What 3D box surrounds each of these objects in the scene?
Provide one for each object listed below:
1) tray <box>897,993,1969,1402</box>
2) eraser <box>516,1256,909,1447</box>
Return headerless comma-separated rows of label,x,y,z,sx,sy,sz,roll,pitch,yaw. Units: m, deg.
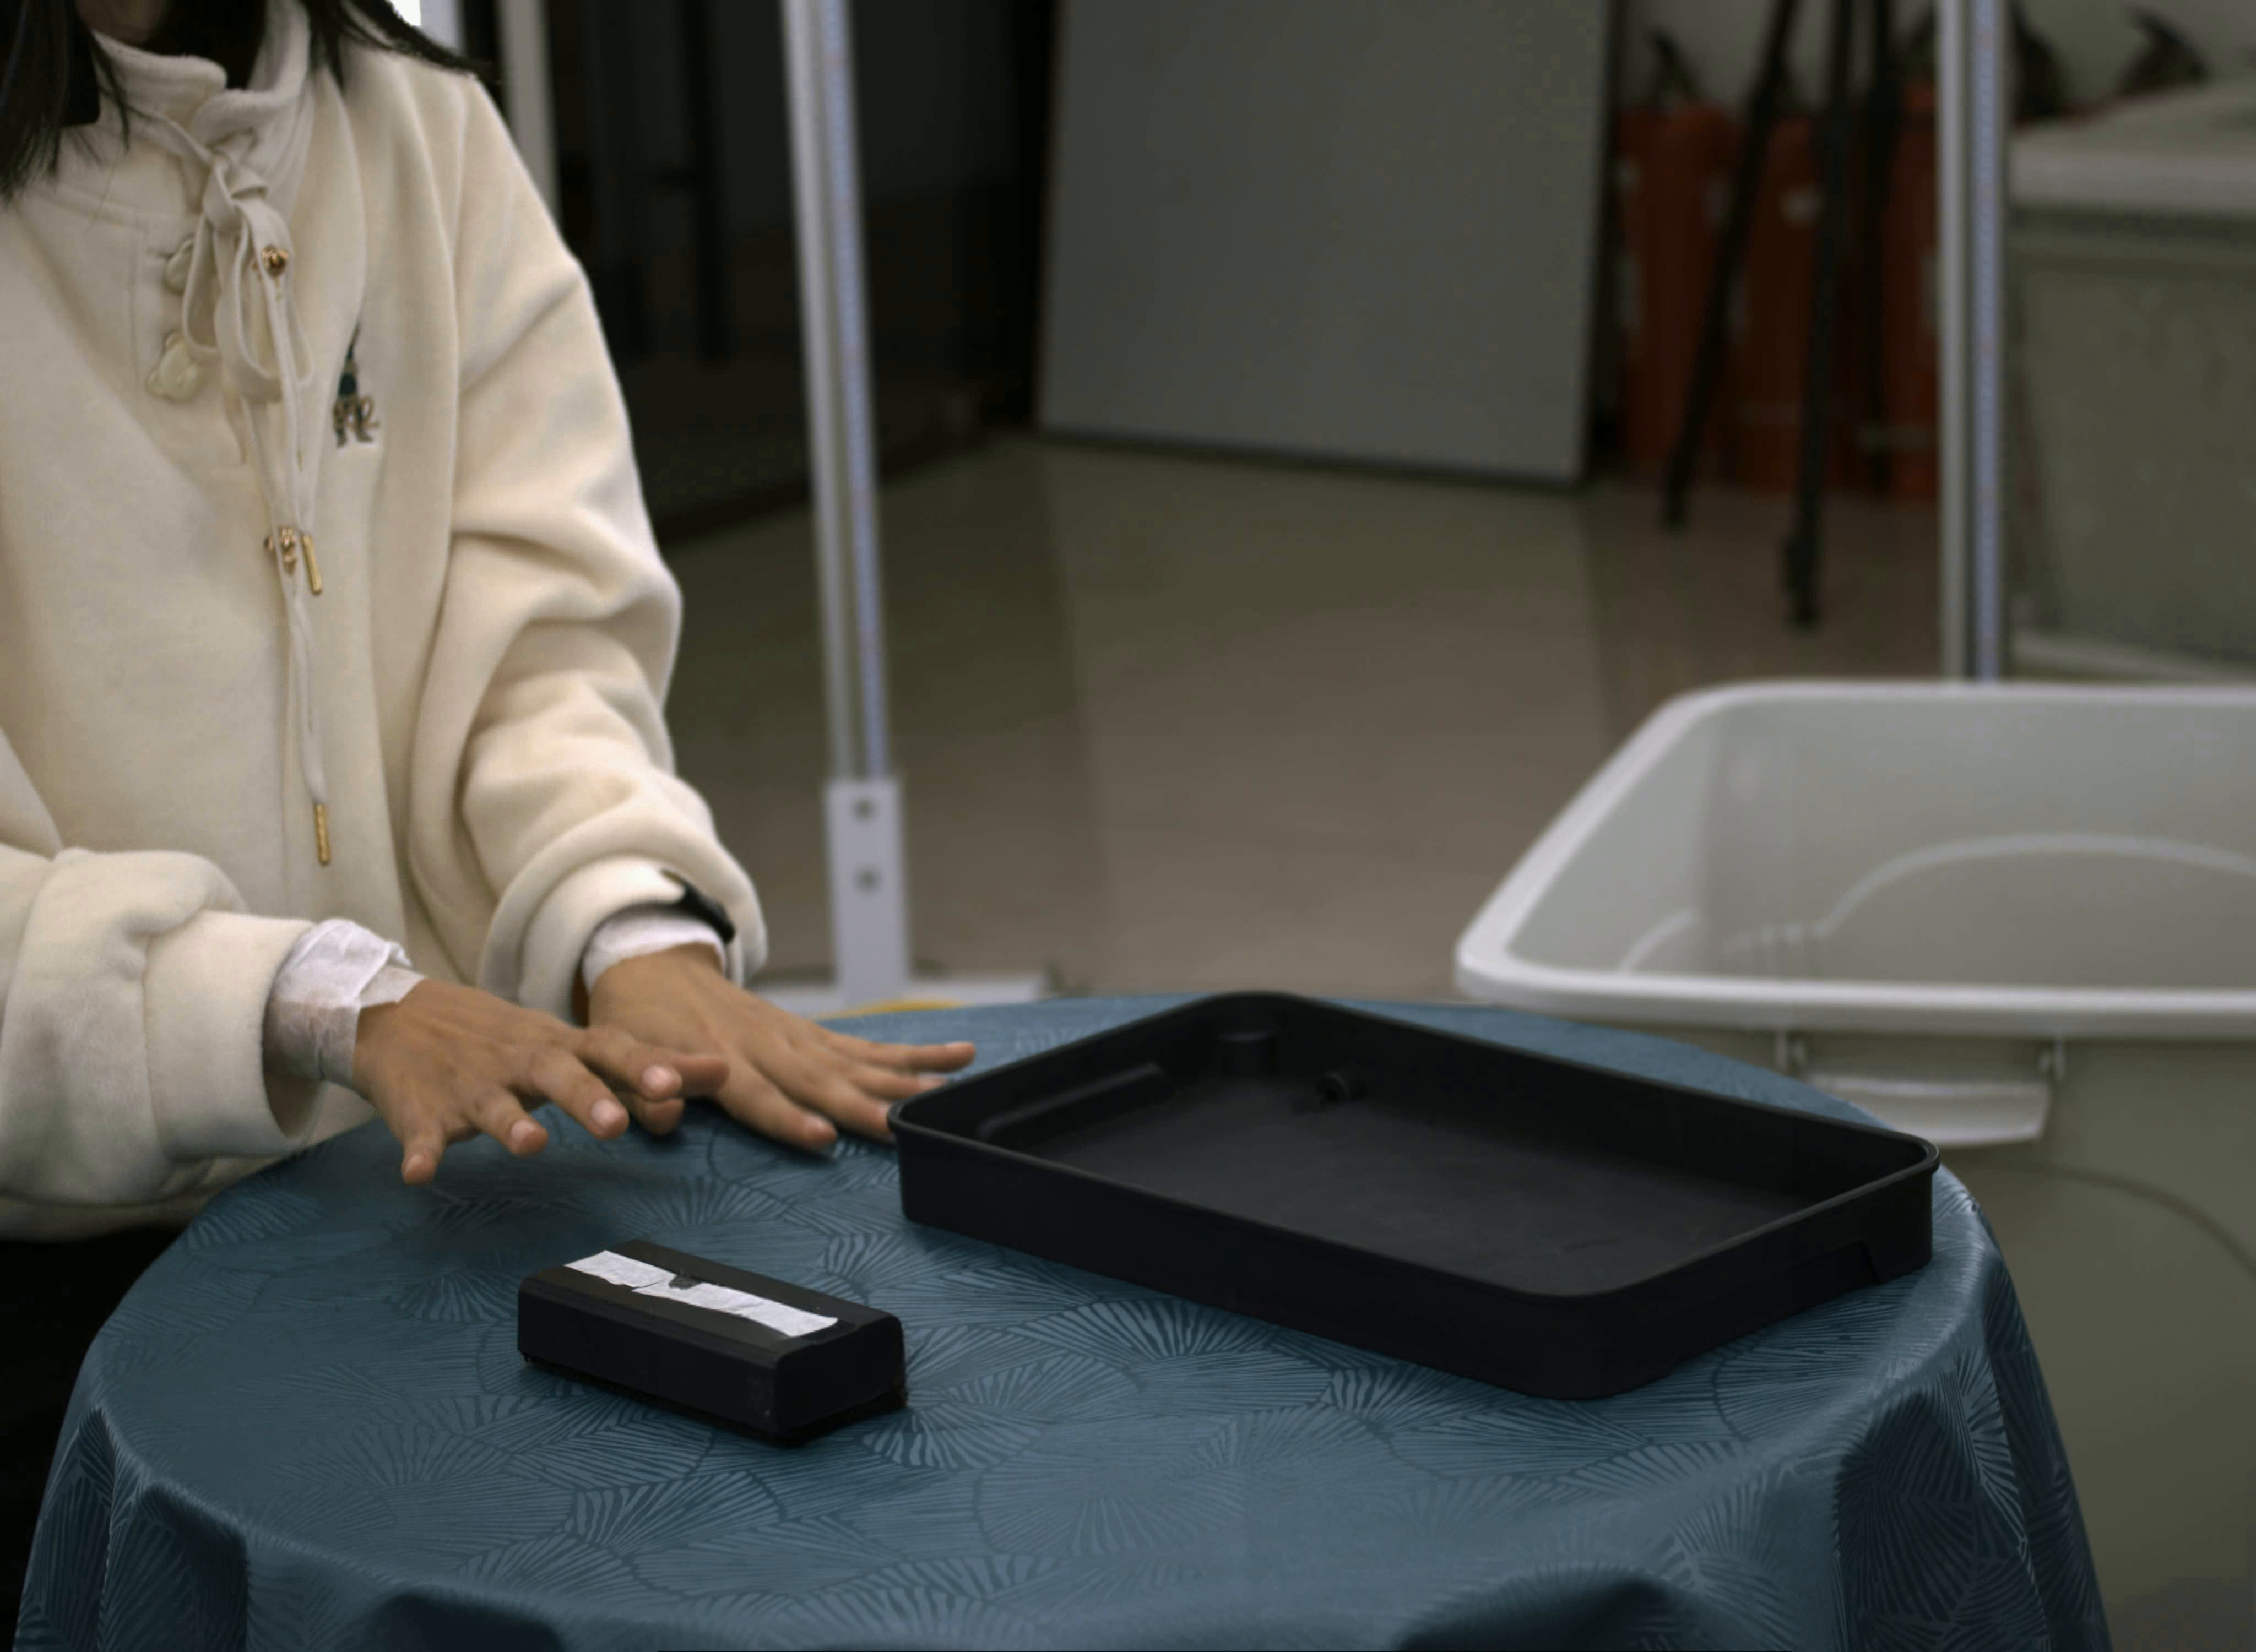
tray,0.092,0.112,1.699,0.321,0.037,0.180,10,19,44
eraser,-0.124,0.155,1.610,0.052,0.031,0.127,-11,14,-42
